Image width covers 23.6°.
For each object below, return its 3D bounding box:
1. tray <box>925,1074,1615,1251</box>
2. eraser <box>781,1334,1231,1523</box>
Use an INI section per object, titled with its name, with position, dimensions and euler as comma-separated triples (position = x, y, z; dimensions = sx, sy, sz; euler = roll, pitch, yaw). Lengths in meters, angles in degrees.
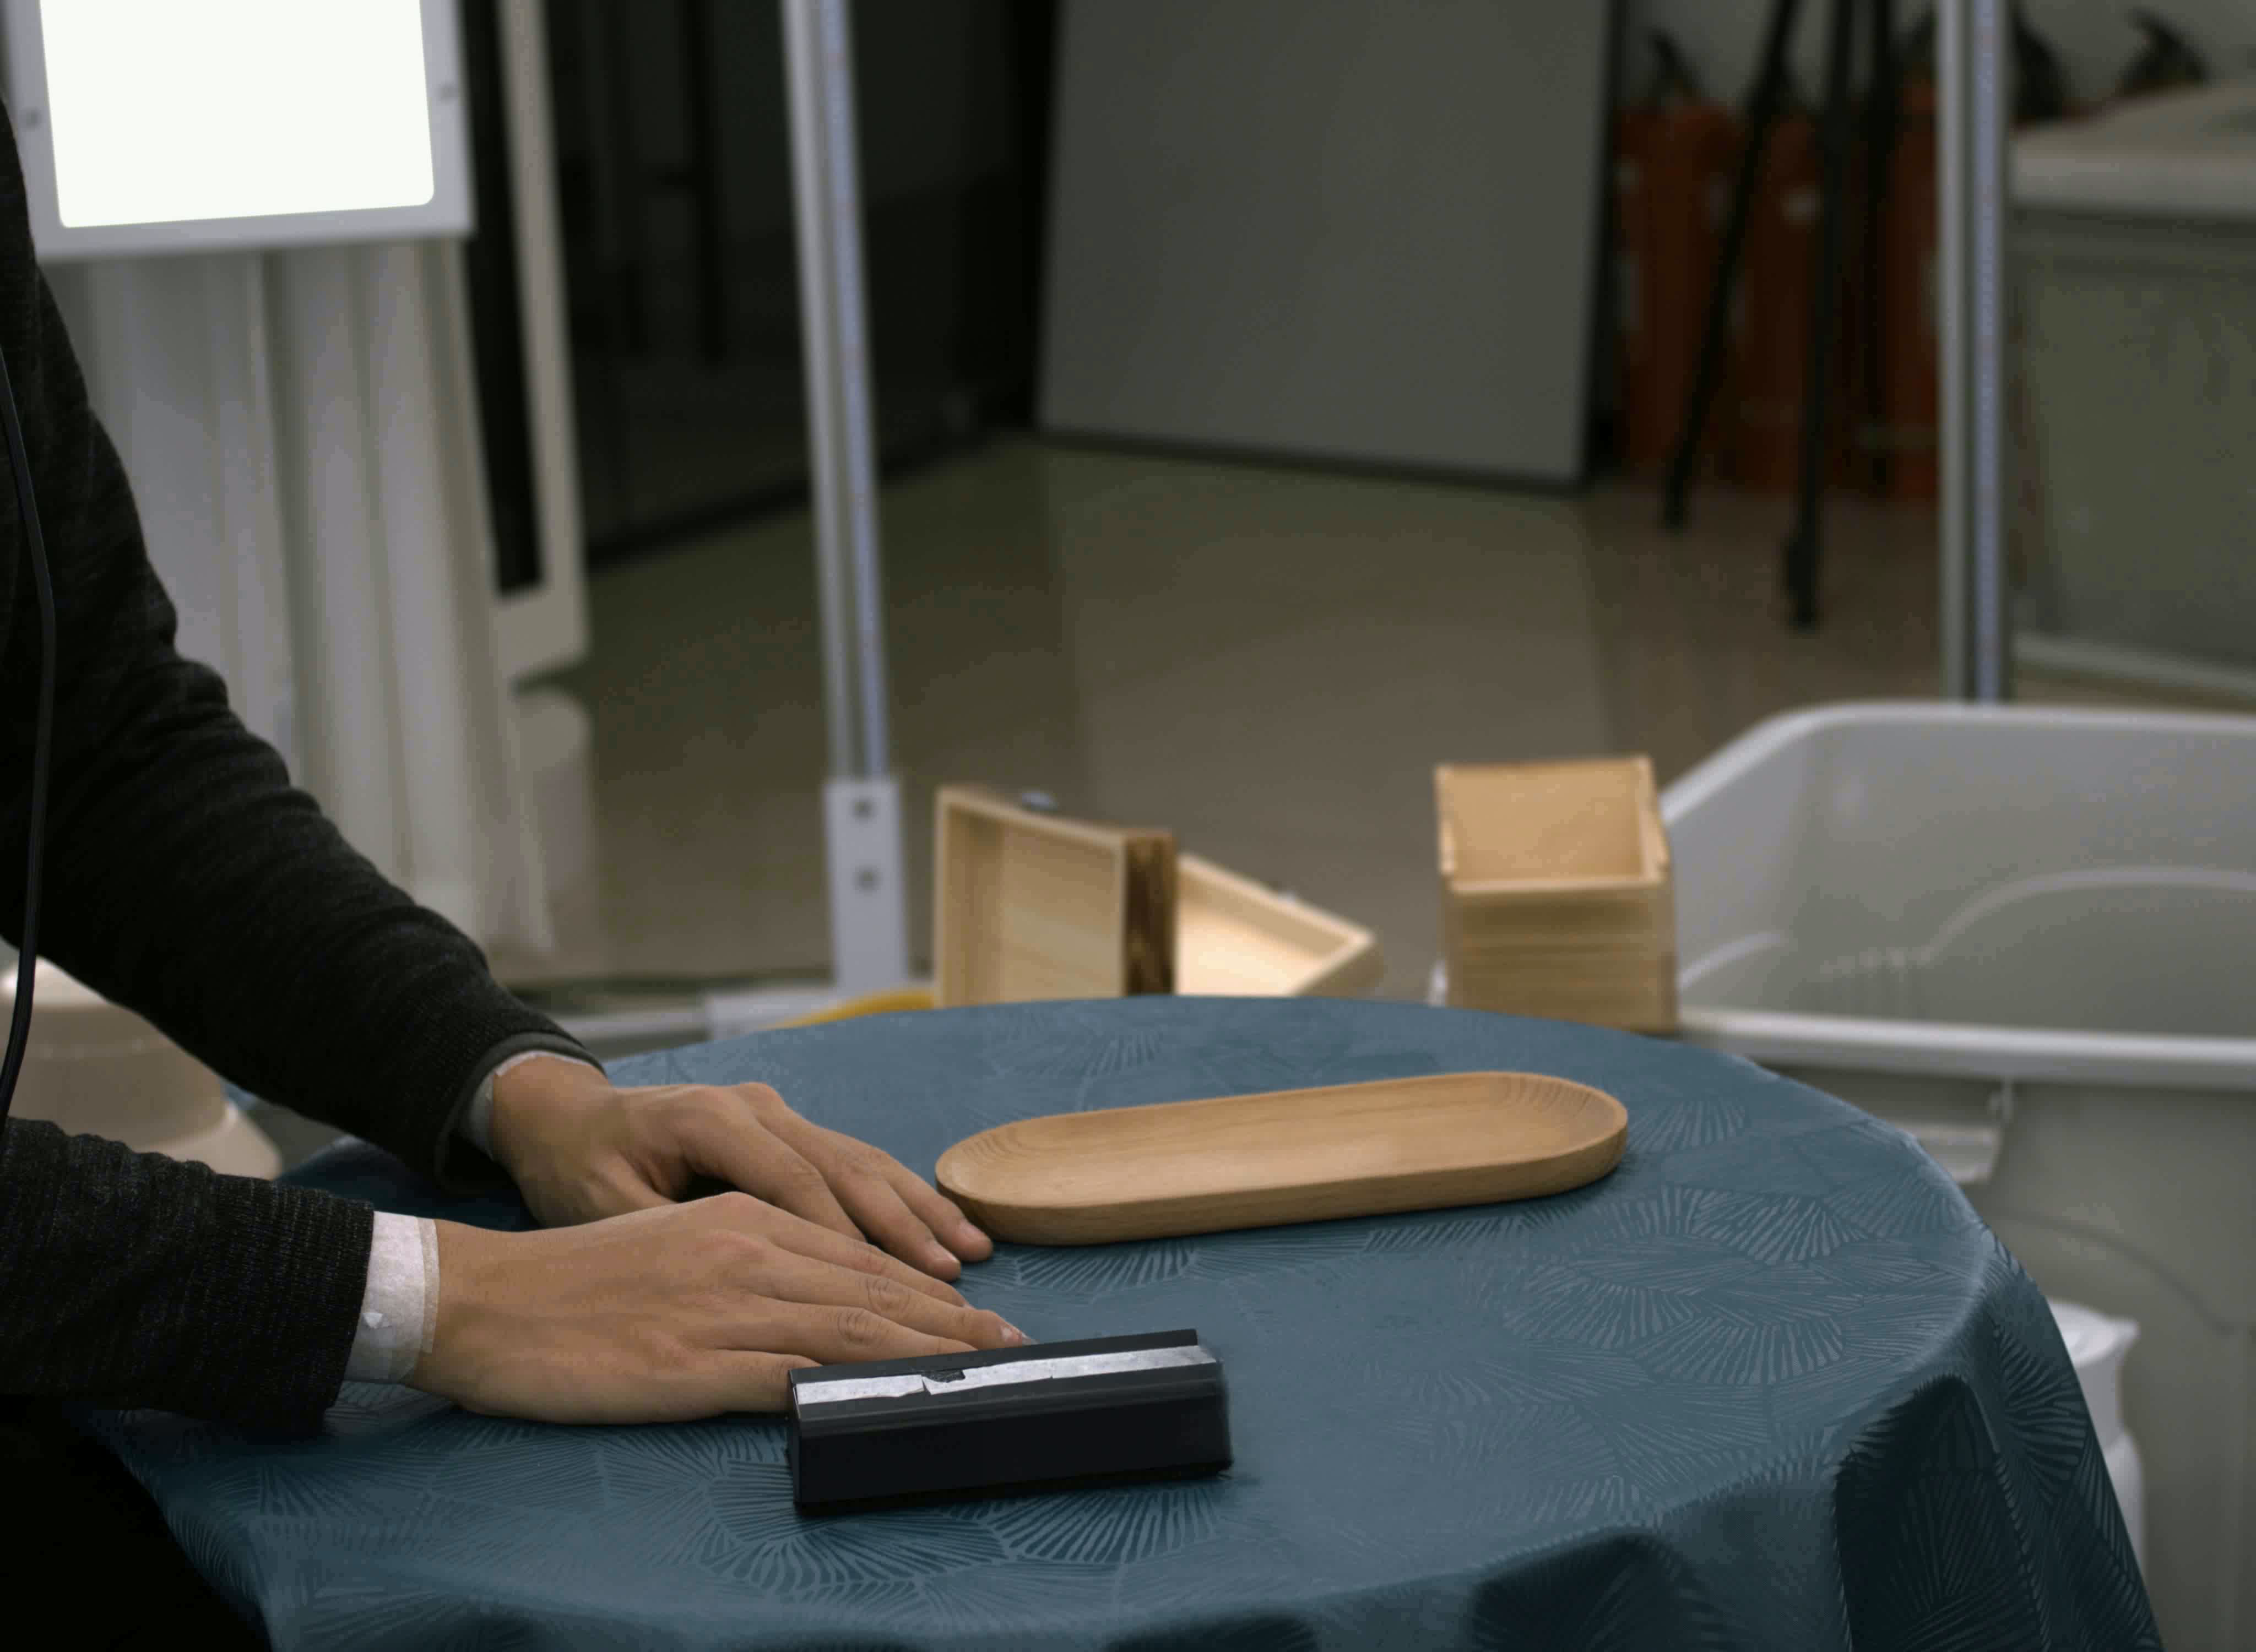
[tray]
position = 0.047, 0.110, 1.765
dimensions = 0.227, 0.020, 0.102
euler = -7, 13, -6
[eraser]
position = -0.034, 0.169, 1.525
dimensions = 0.123, 0.031, 0.054
euler = -7, 11, -5
